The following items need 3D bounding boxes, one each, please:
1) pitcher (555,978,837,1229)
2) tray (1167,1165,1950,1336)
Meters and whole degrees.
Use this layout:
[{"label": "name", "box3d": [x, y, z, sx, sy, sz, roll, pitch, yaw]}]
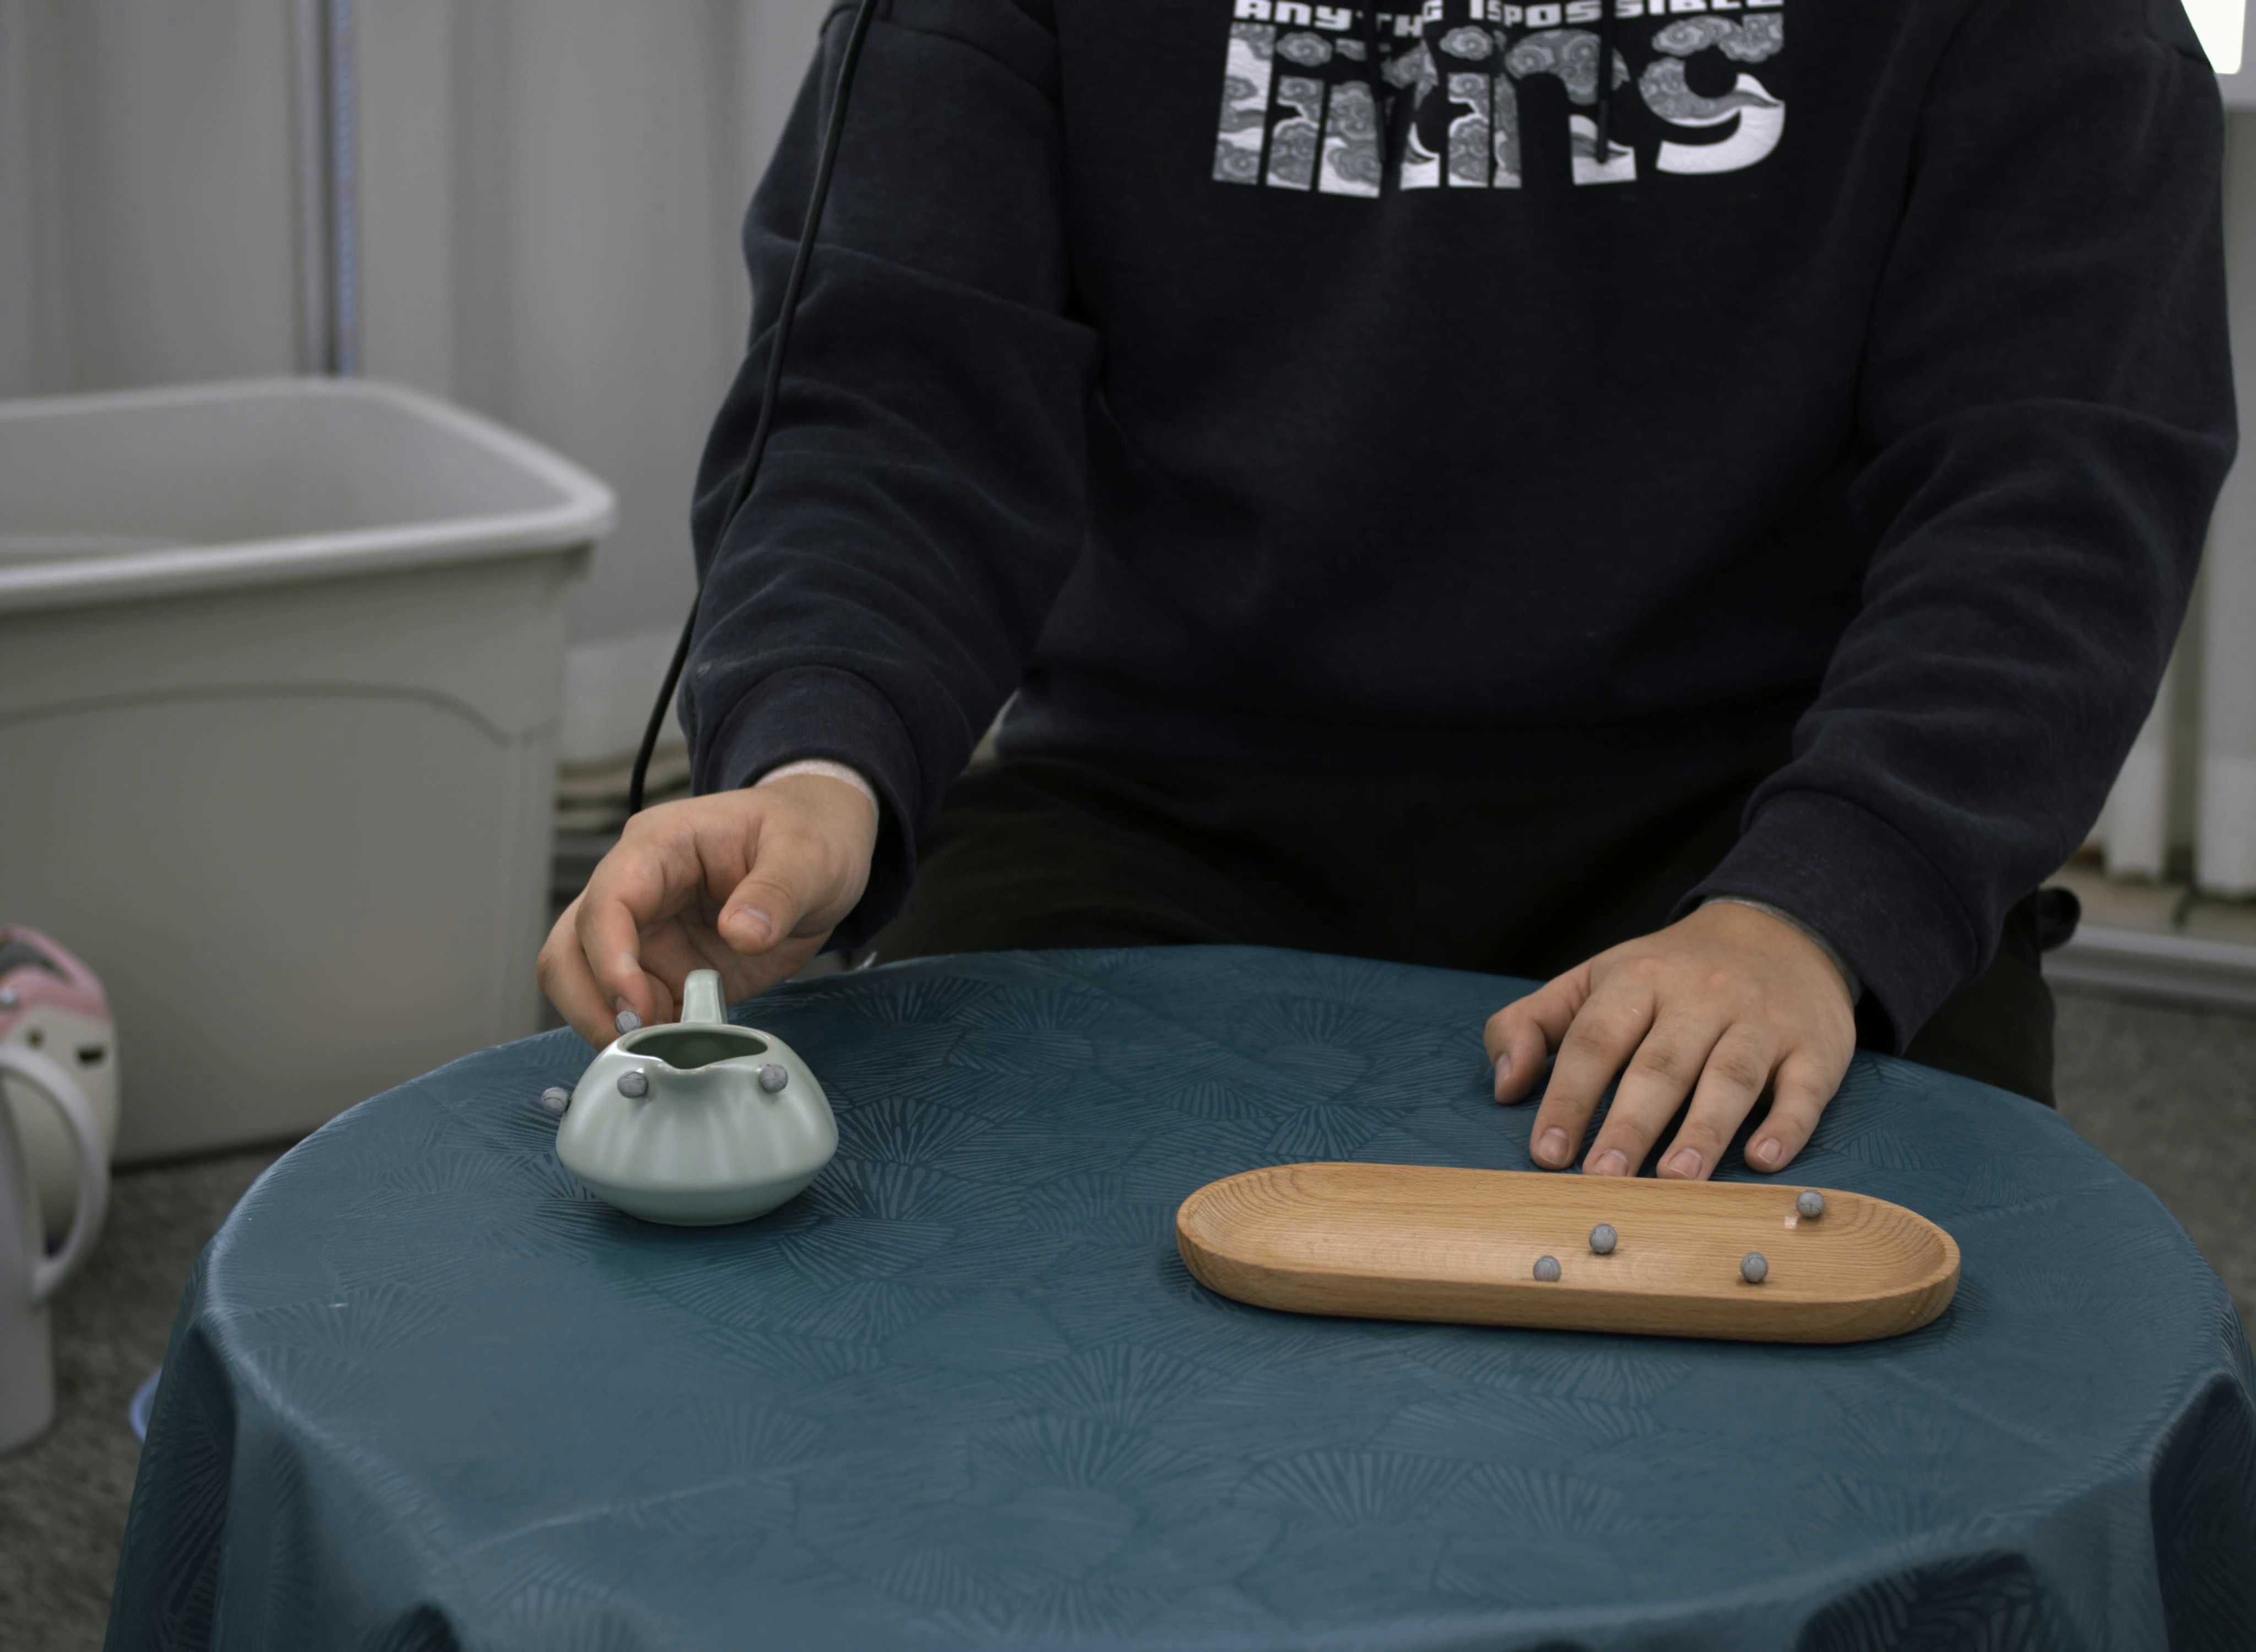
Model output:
[{"label": "pitcher", "box3d": [-0.132, 0.086, 1.613, 0.086, 0.061, 0.107, 1, 13, -3]}, {"label": "tray", "box3d": [0.126, 0.125, 1.556, 0.230, 0.020, 0.101, 1, 14, 7]}]
